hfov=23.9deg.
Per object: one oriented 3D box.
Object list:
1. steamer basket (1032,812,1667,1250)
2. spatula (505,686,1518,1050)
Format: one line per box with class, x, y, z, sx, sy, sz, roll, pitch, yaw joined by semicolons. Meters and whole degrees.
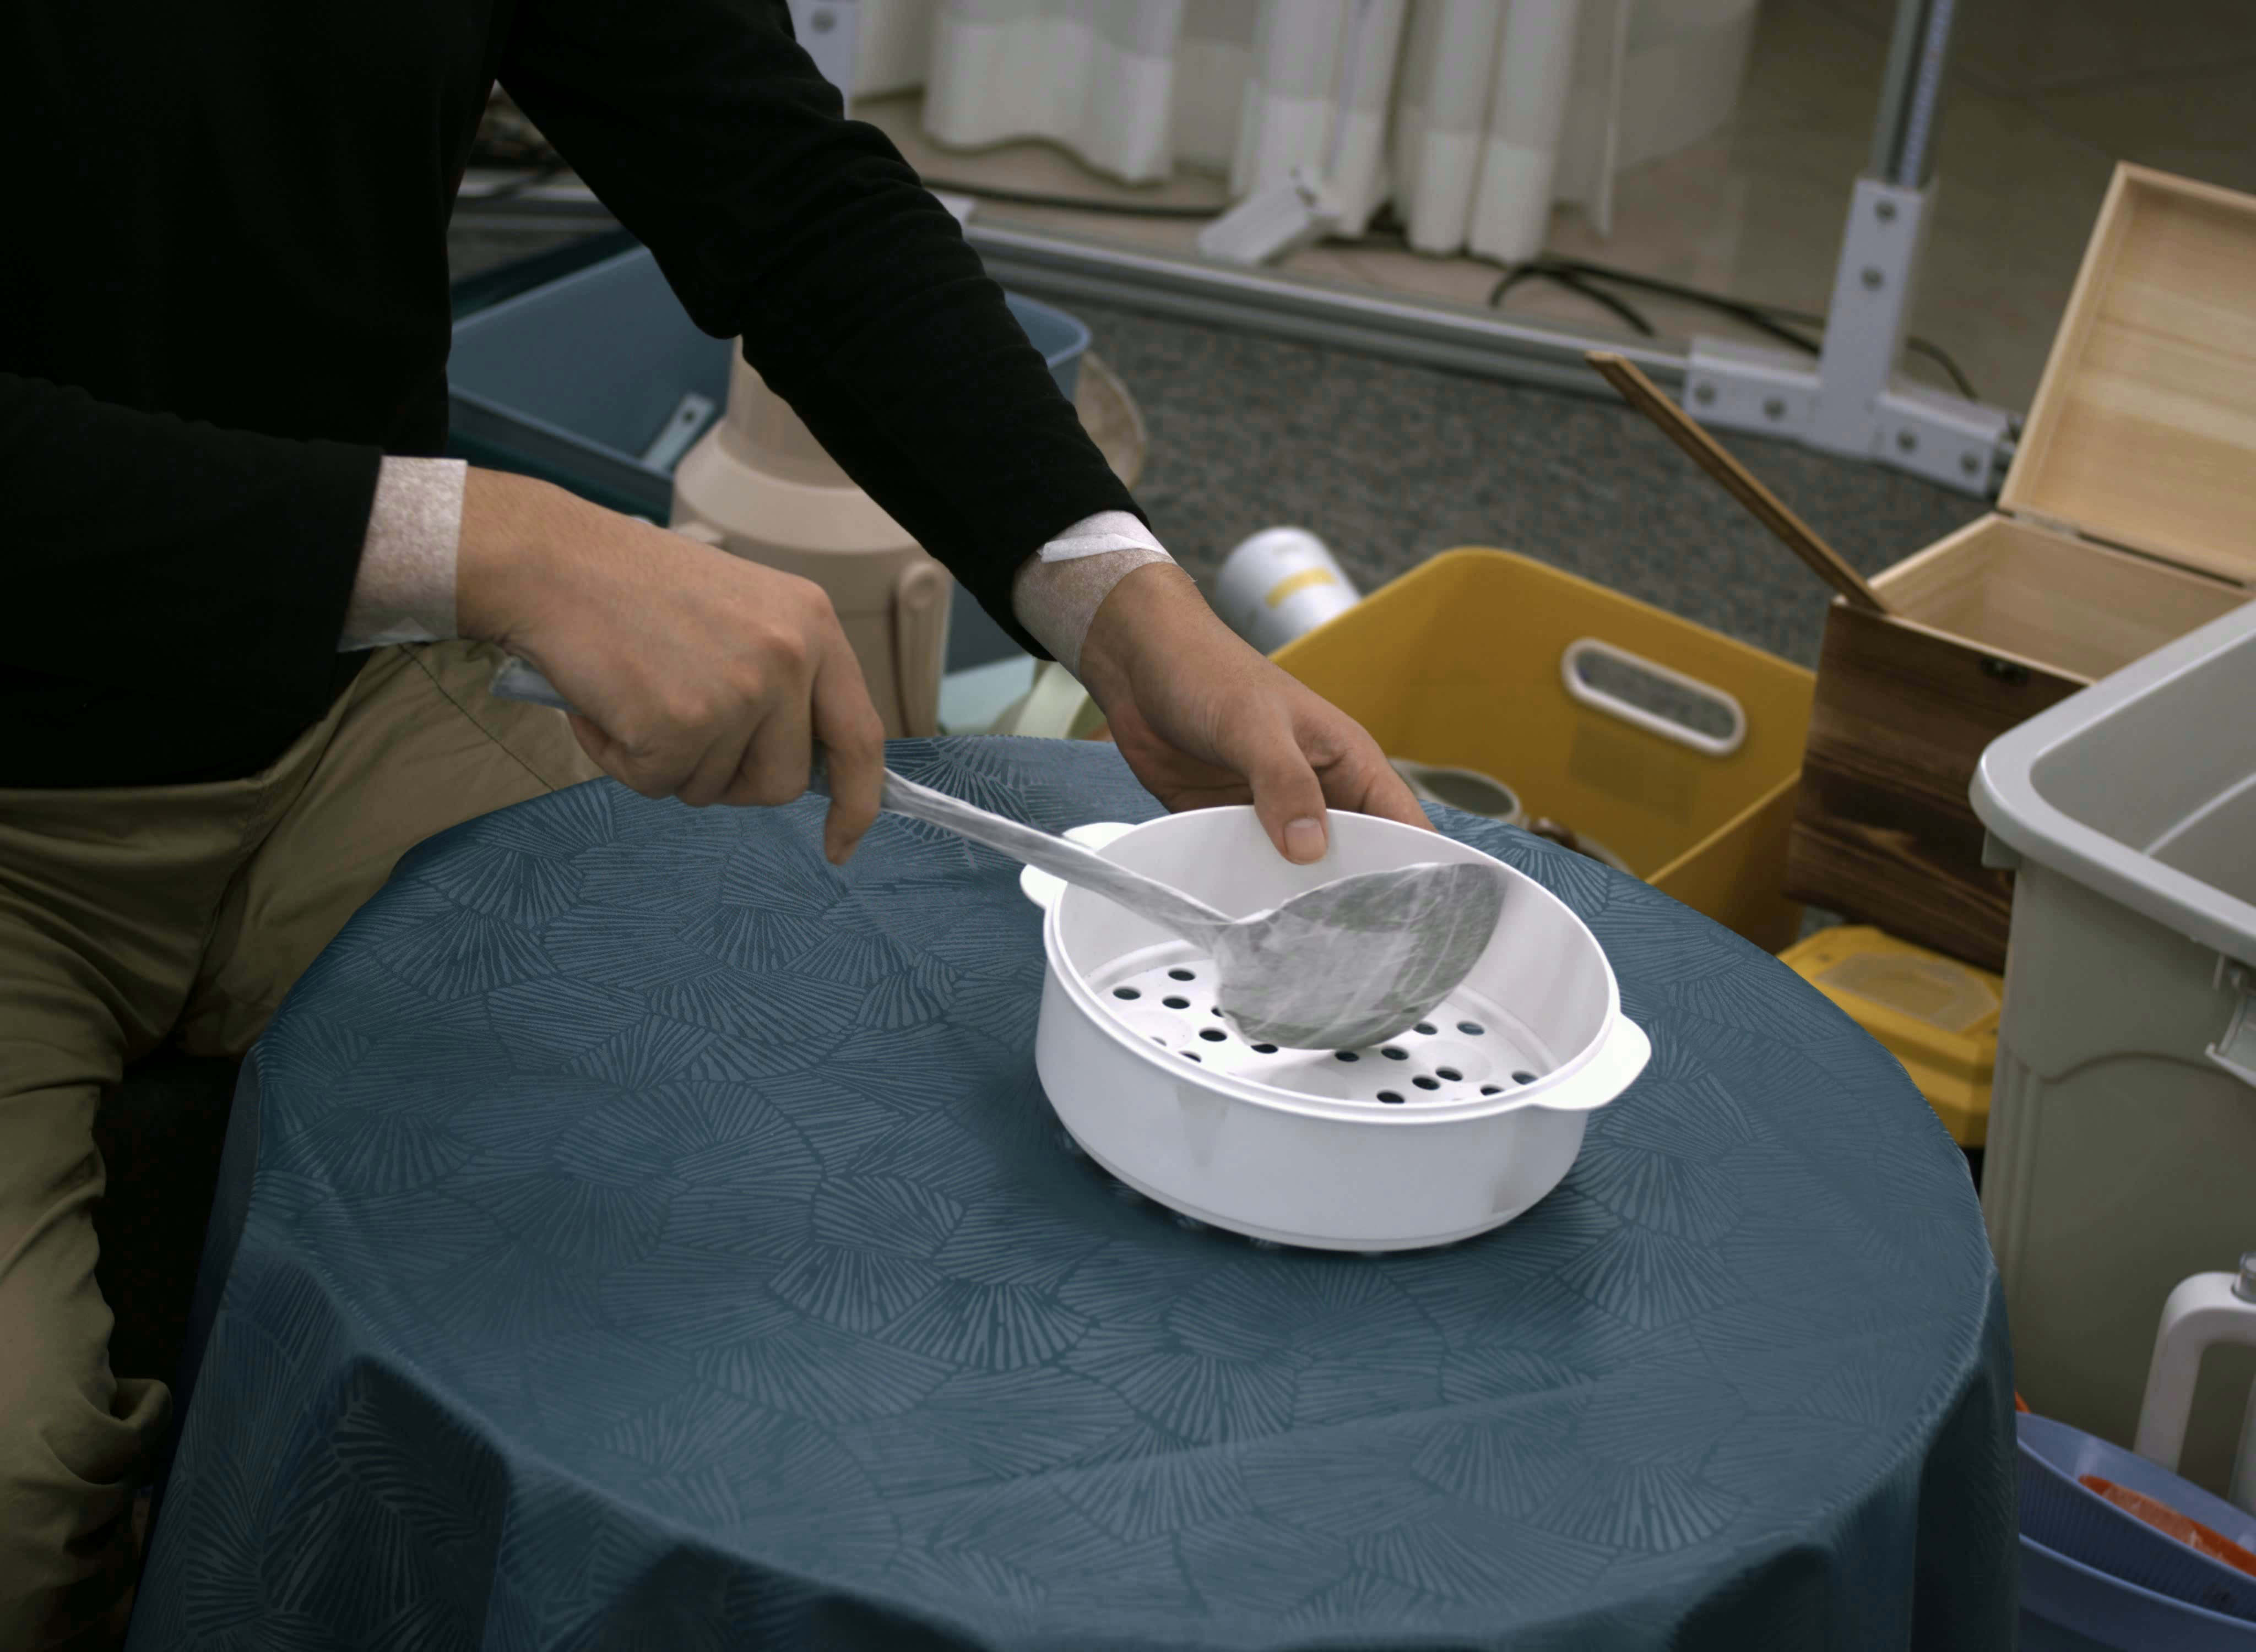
steamer basket;0.071;0.071;1.837;0.231;0.069;0.201;21;31;23
spatula;-0.037;0.004;1.792;0.362;0.098;0.045;20;38;-18
